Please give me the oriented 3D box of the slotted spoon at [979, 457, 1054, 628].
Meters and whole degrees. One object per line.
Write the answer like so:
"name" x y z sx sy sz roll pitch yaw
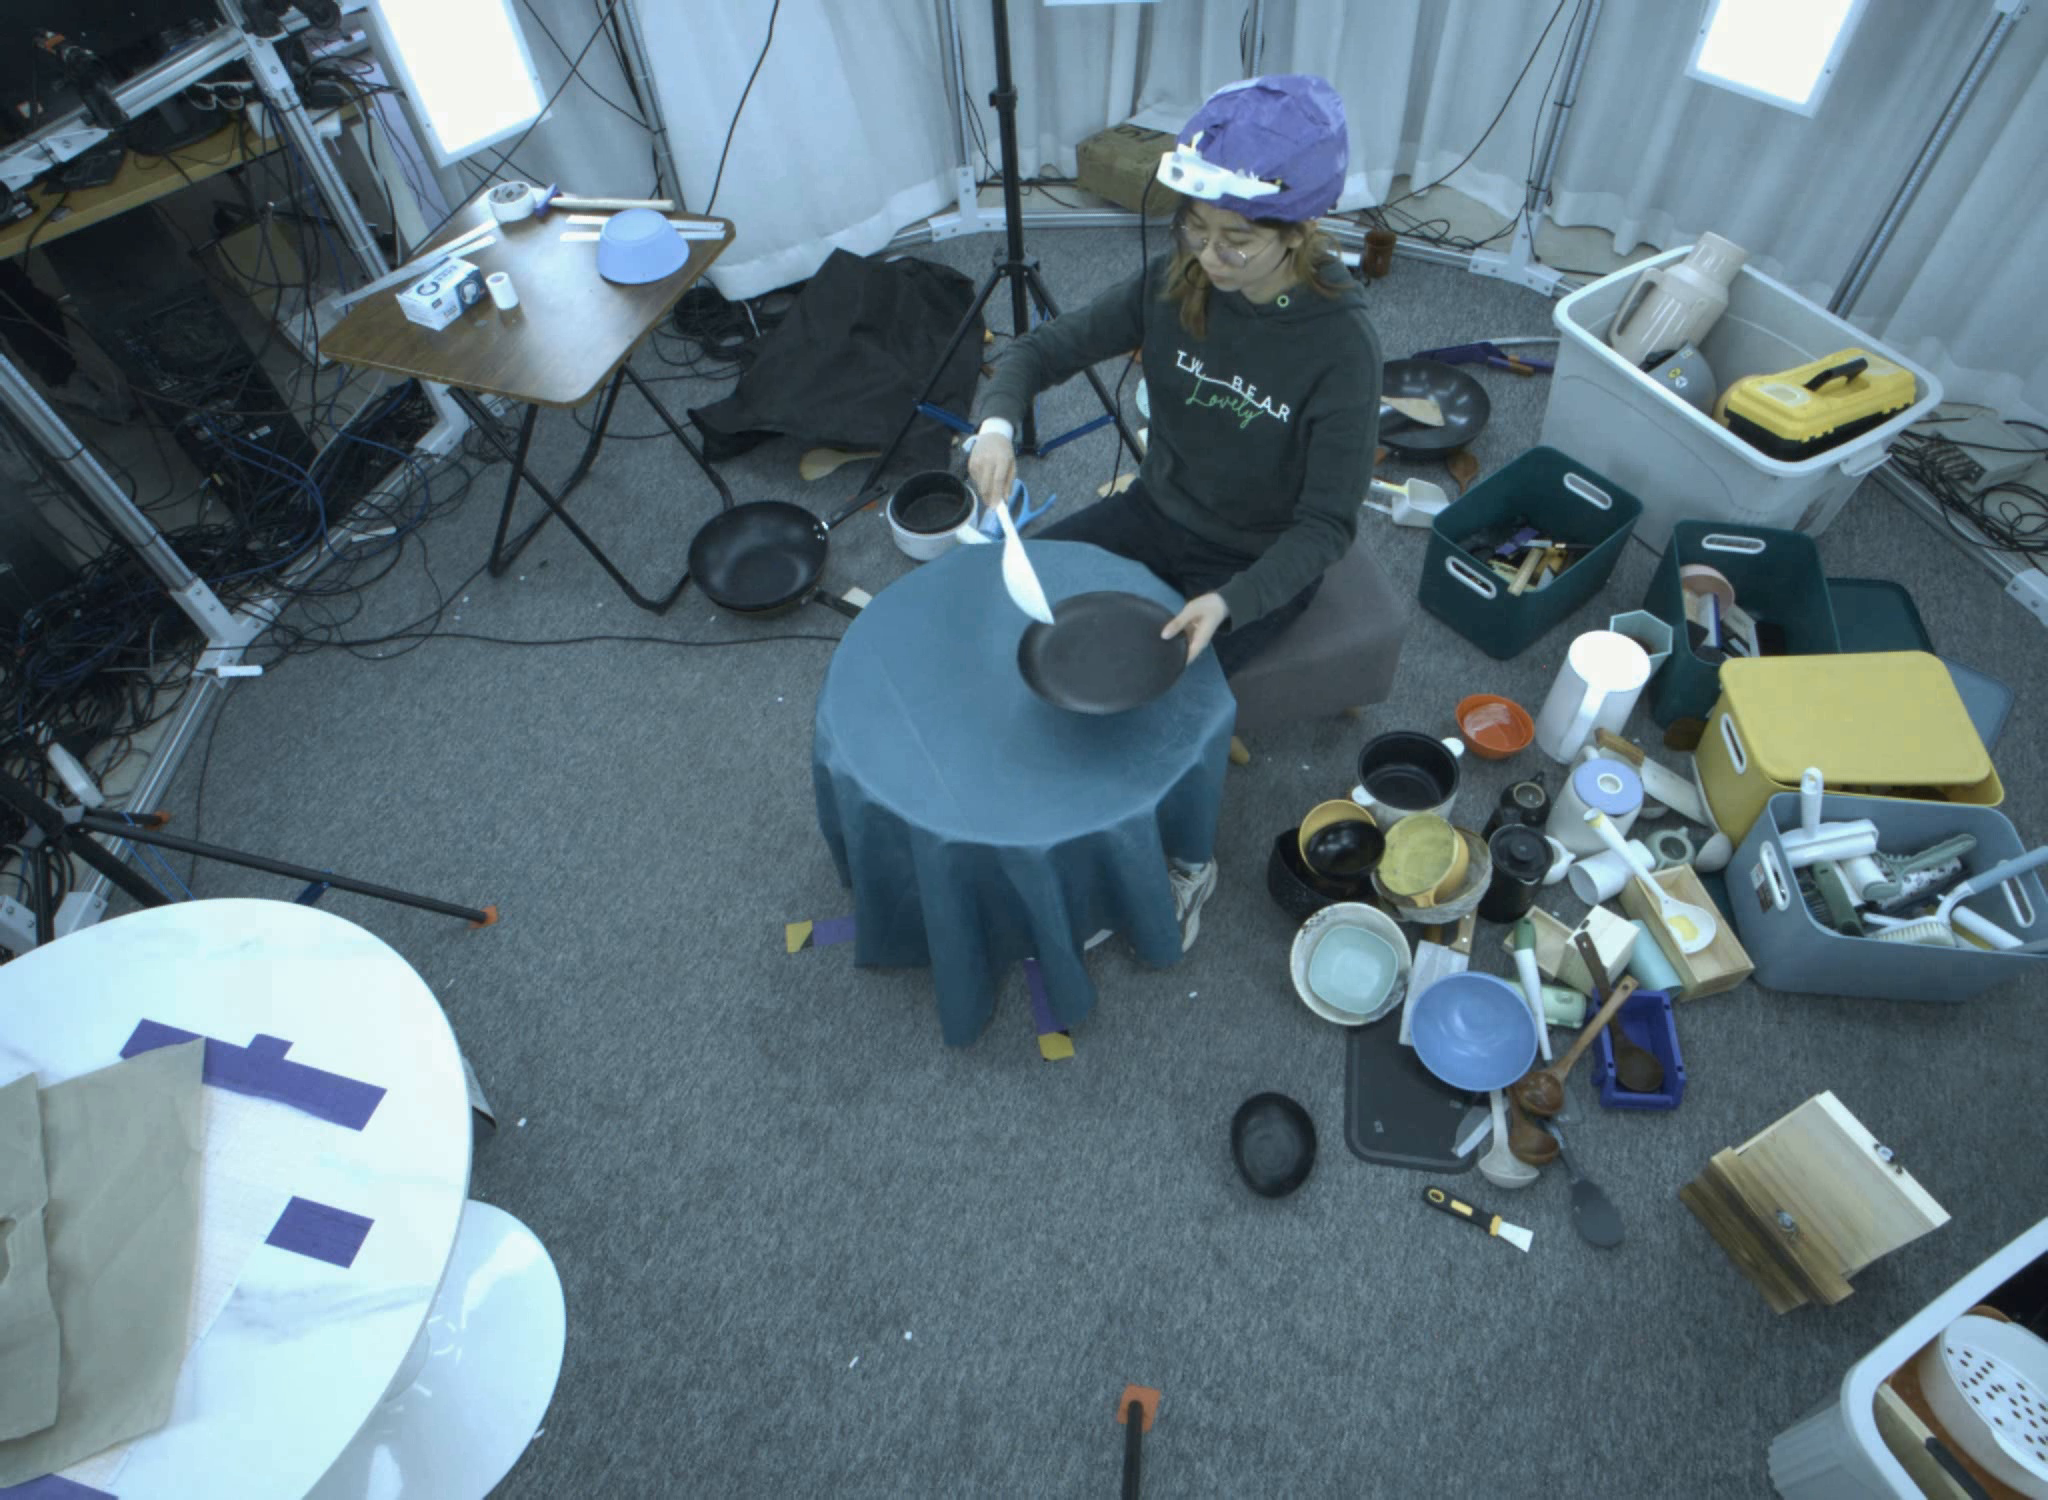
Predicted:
"slotted spoon" -0.019 -0.307 1.740 0.045 0.138 0.344 -18 53 7

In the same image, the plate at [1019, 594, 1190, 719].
"plate" 0.115 -0.130 1.755 0.244 0.024 0.242 -2 51 4
